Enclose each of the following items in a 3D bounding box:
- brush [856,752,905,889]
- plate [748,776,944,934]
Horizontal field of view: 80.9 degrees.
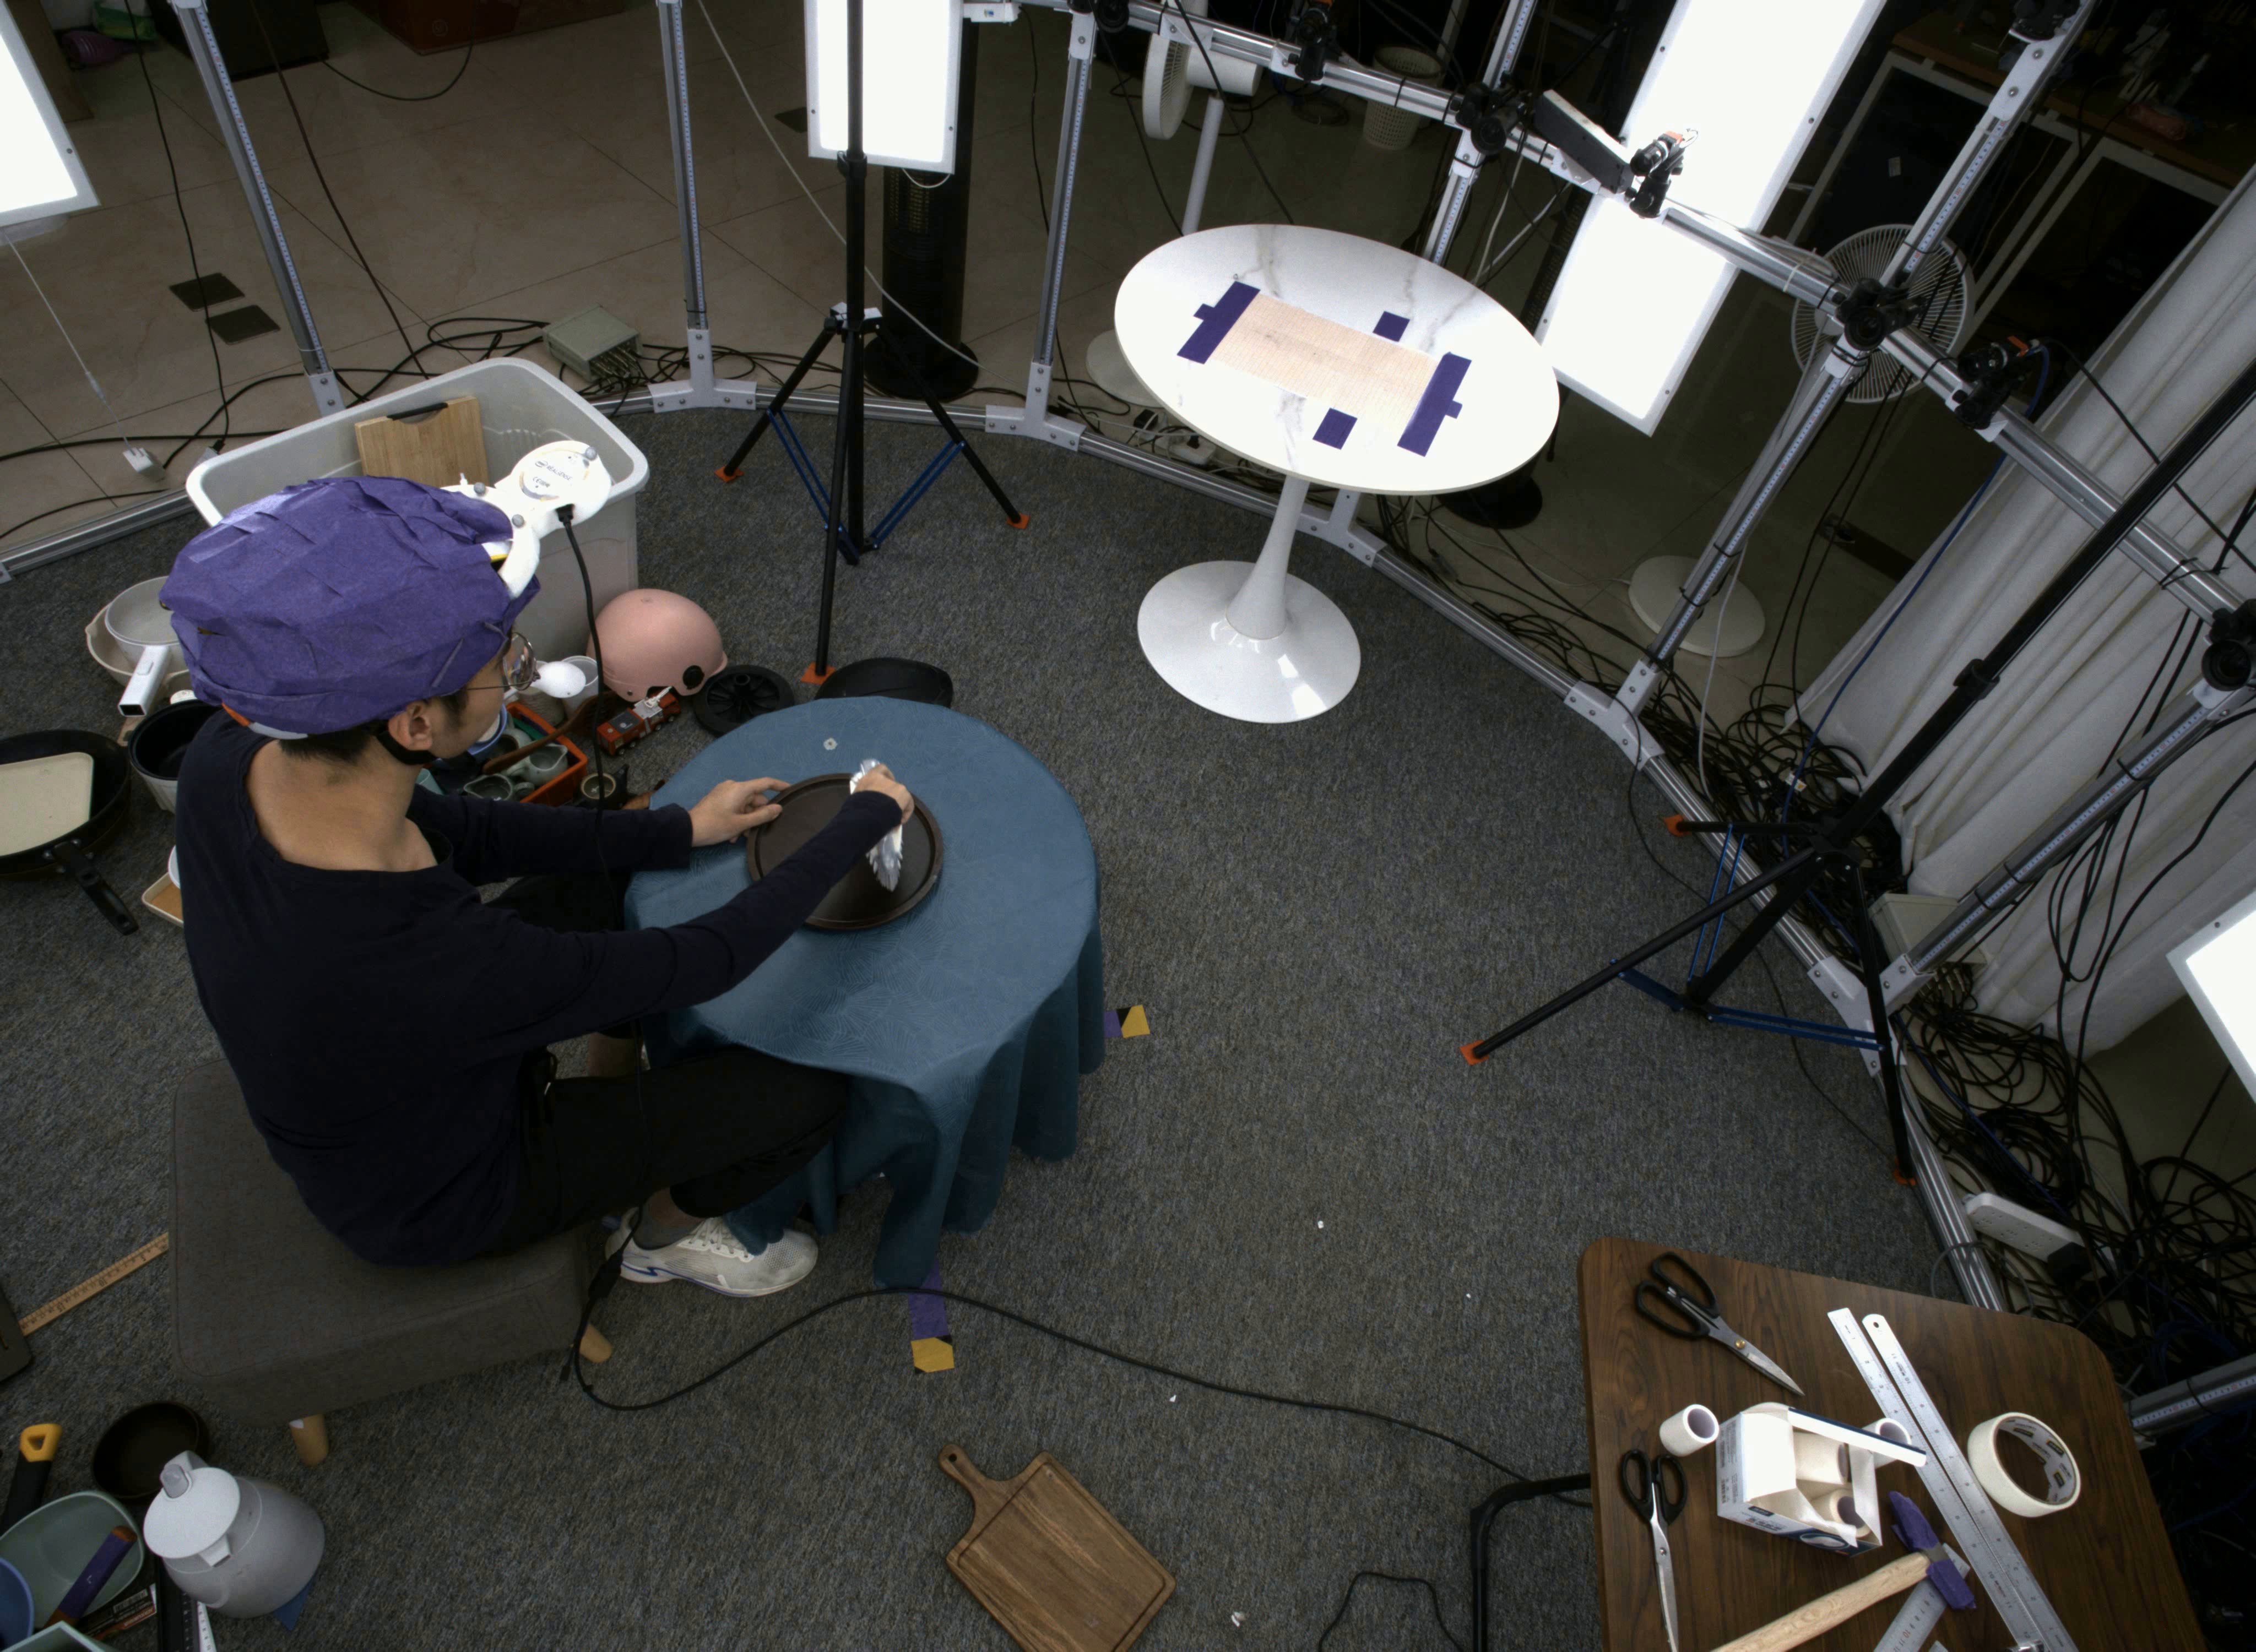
[{"bbox_3d":[-0.317,-0.016,1.676,0.061,0.096,0.172,-5,59,-12],"label":"brush"},{"bbox_3d":[-0.368,0.035,1.699,0.254,0.029,0.250,8,52,-9],"label":"plate"}]
